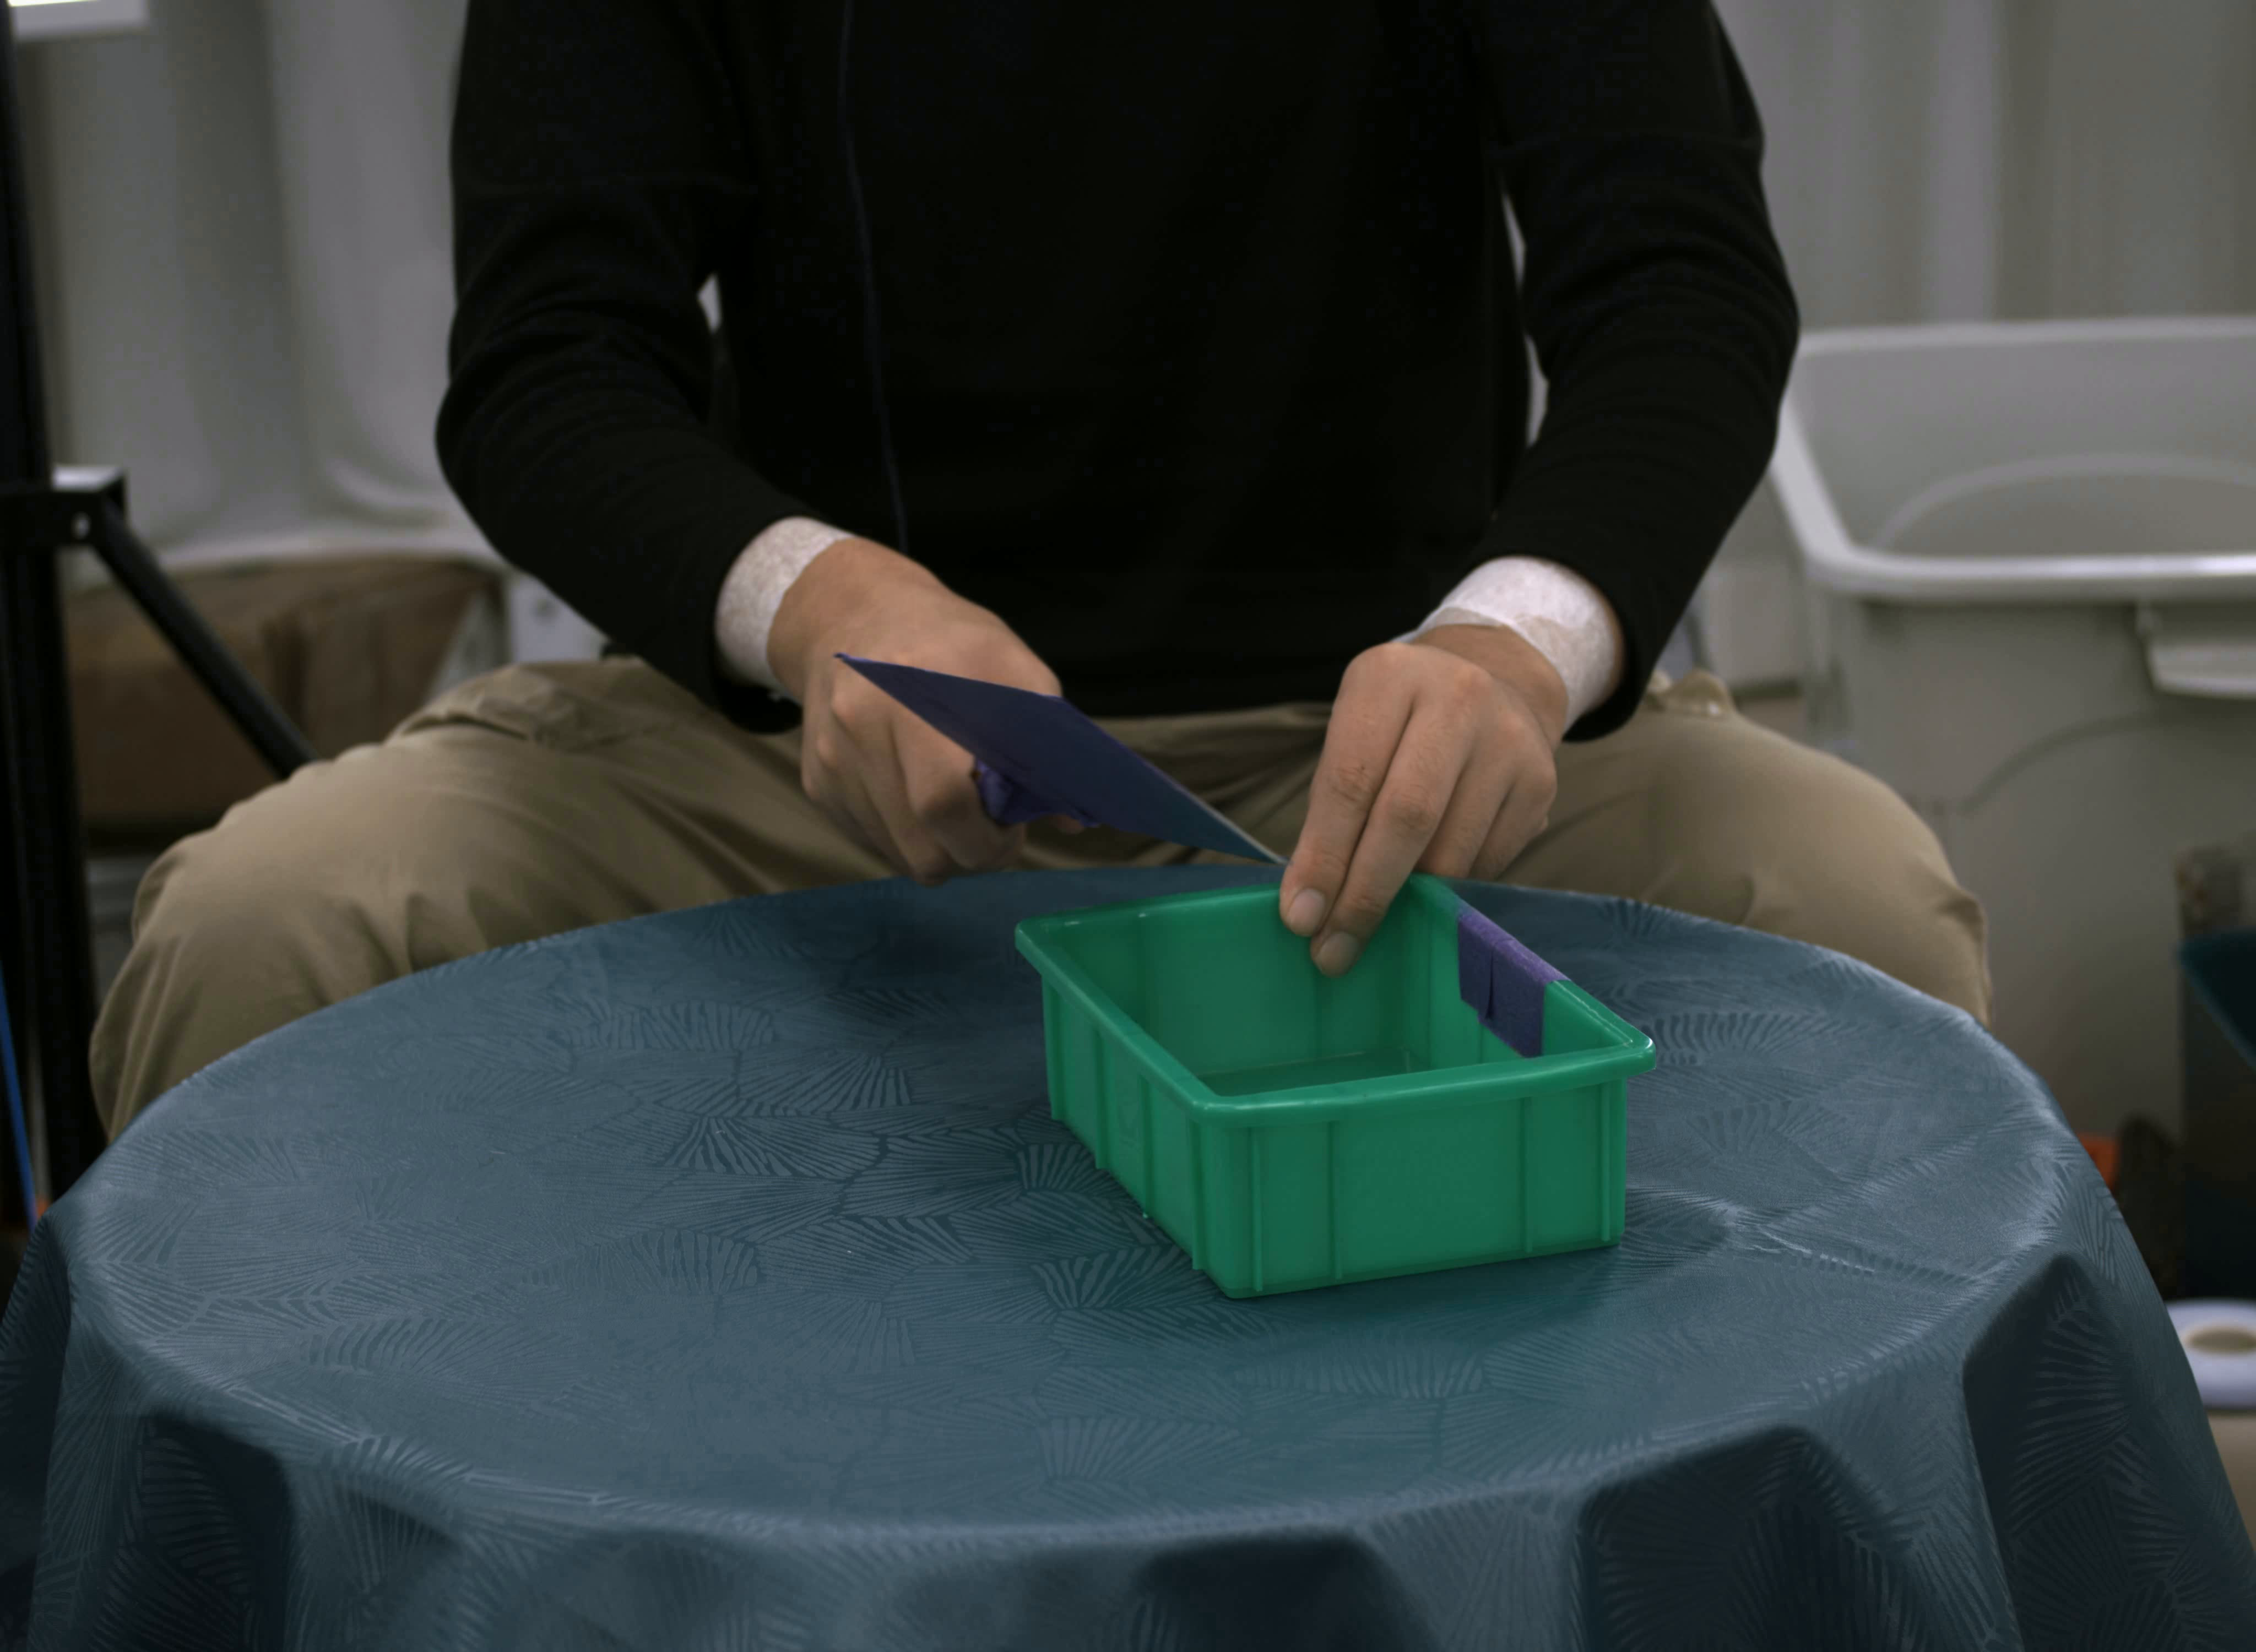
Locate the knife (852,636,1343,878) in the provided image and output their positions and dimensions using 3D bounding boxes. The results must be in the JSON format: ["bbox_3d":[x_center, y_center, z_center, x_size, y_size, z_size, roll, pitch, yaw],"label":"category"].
[{"bbox_3d":[-0.034,-0.028,1.658,0.102,0.032,0.320,37,-11,-21],"label":"knife"}]

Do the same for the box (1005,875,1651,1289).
[{"bbox_3d":[0.056,0.073,1.556,0.136,0.065,0.214,-6,14,-16],"label":"box"}]
